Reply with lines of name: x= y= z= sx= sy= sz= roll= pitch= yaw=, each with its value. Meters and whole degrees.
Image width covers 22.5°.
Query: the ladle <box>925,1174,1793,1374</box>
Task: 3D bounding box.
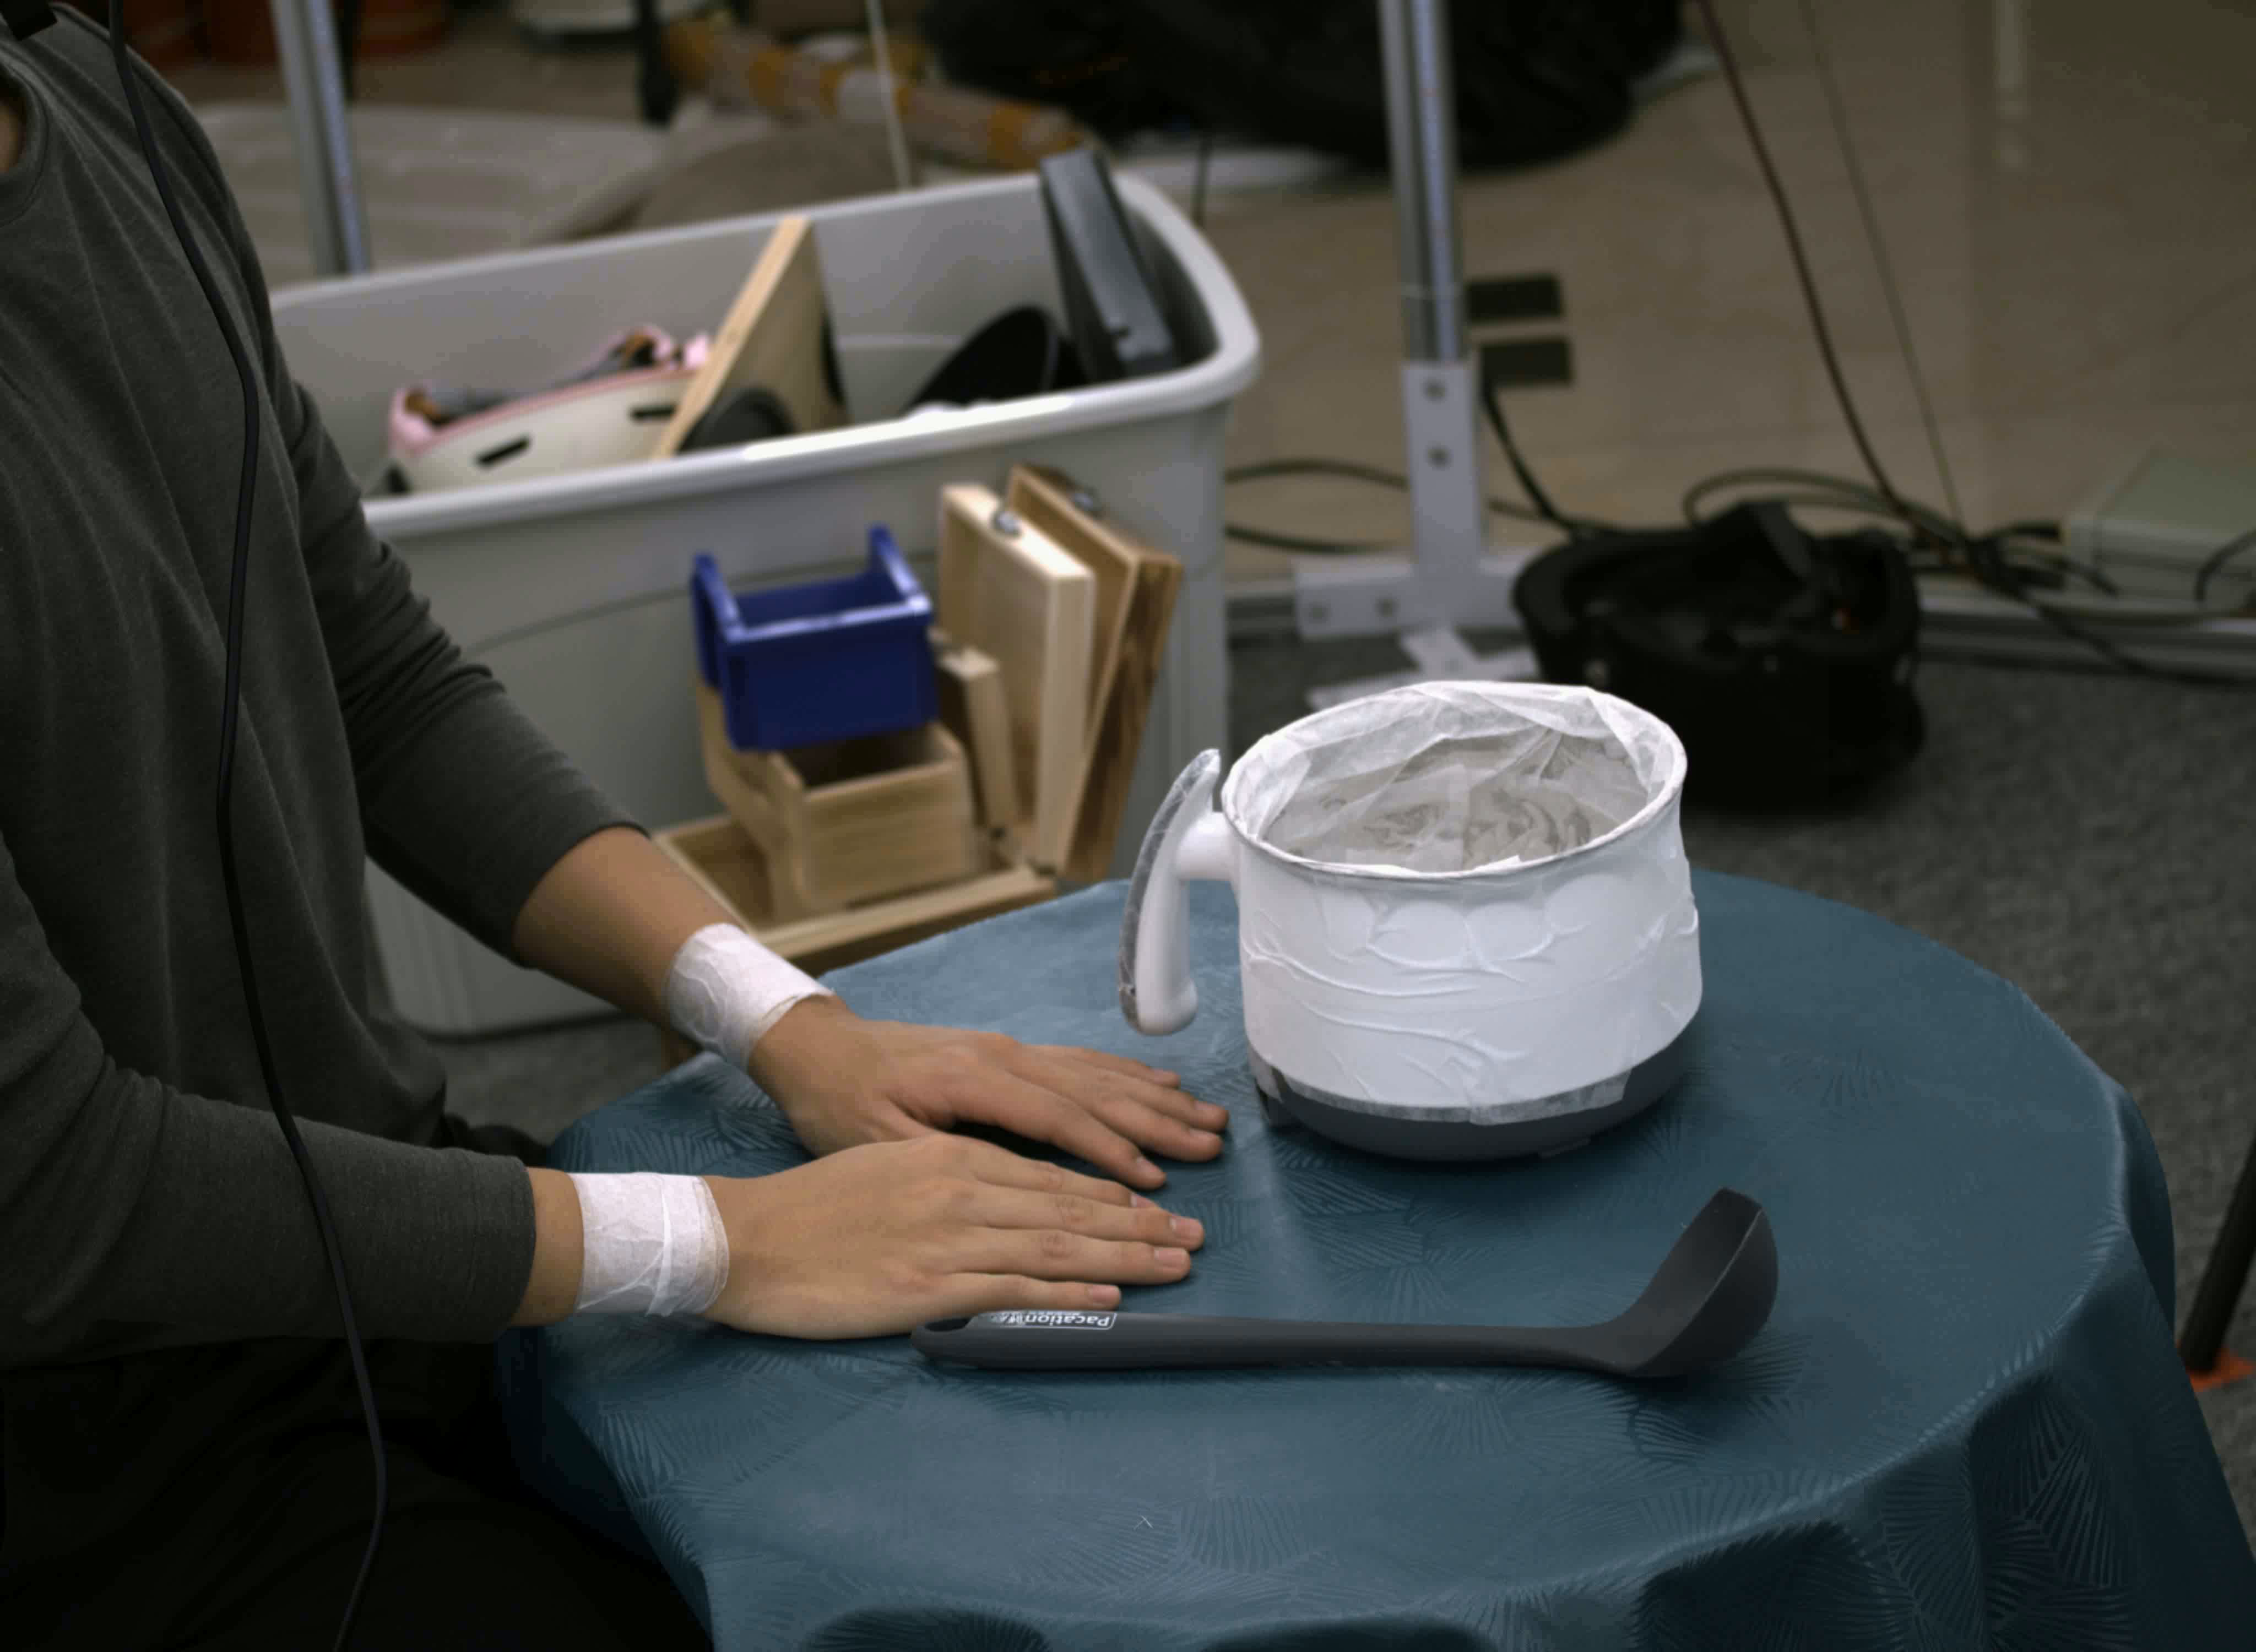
ladle: x=0.078 y=0.162 z=2.006 sx=0.313 sy=0.065 sz=0.085 roll=-1 pitch=21 yaw=12

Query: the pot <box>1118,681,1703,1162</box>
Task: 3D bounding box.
pot: x=0.104 y=0.037 z=2.181 sx=0.233 sy=0.139 sz=0.176 roll=3 pitch=27 yaw=20
